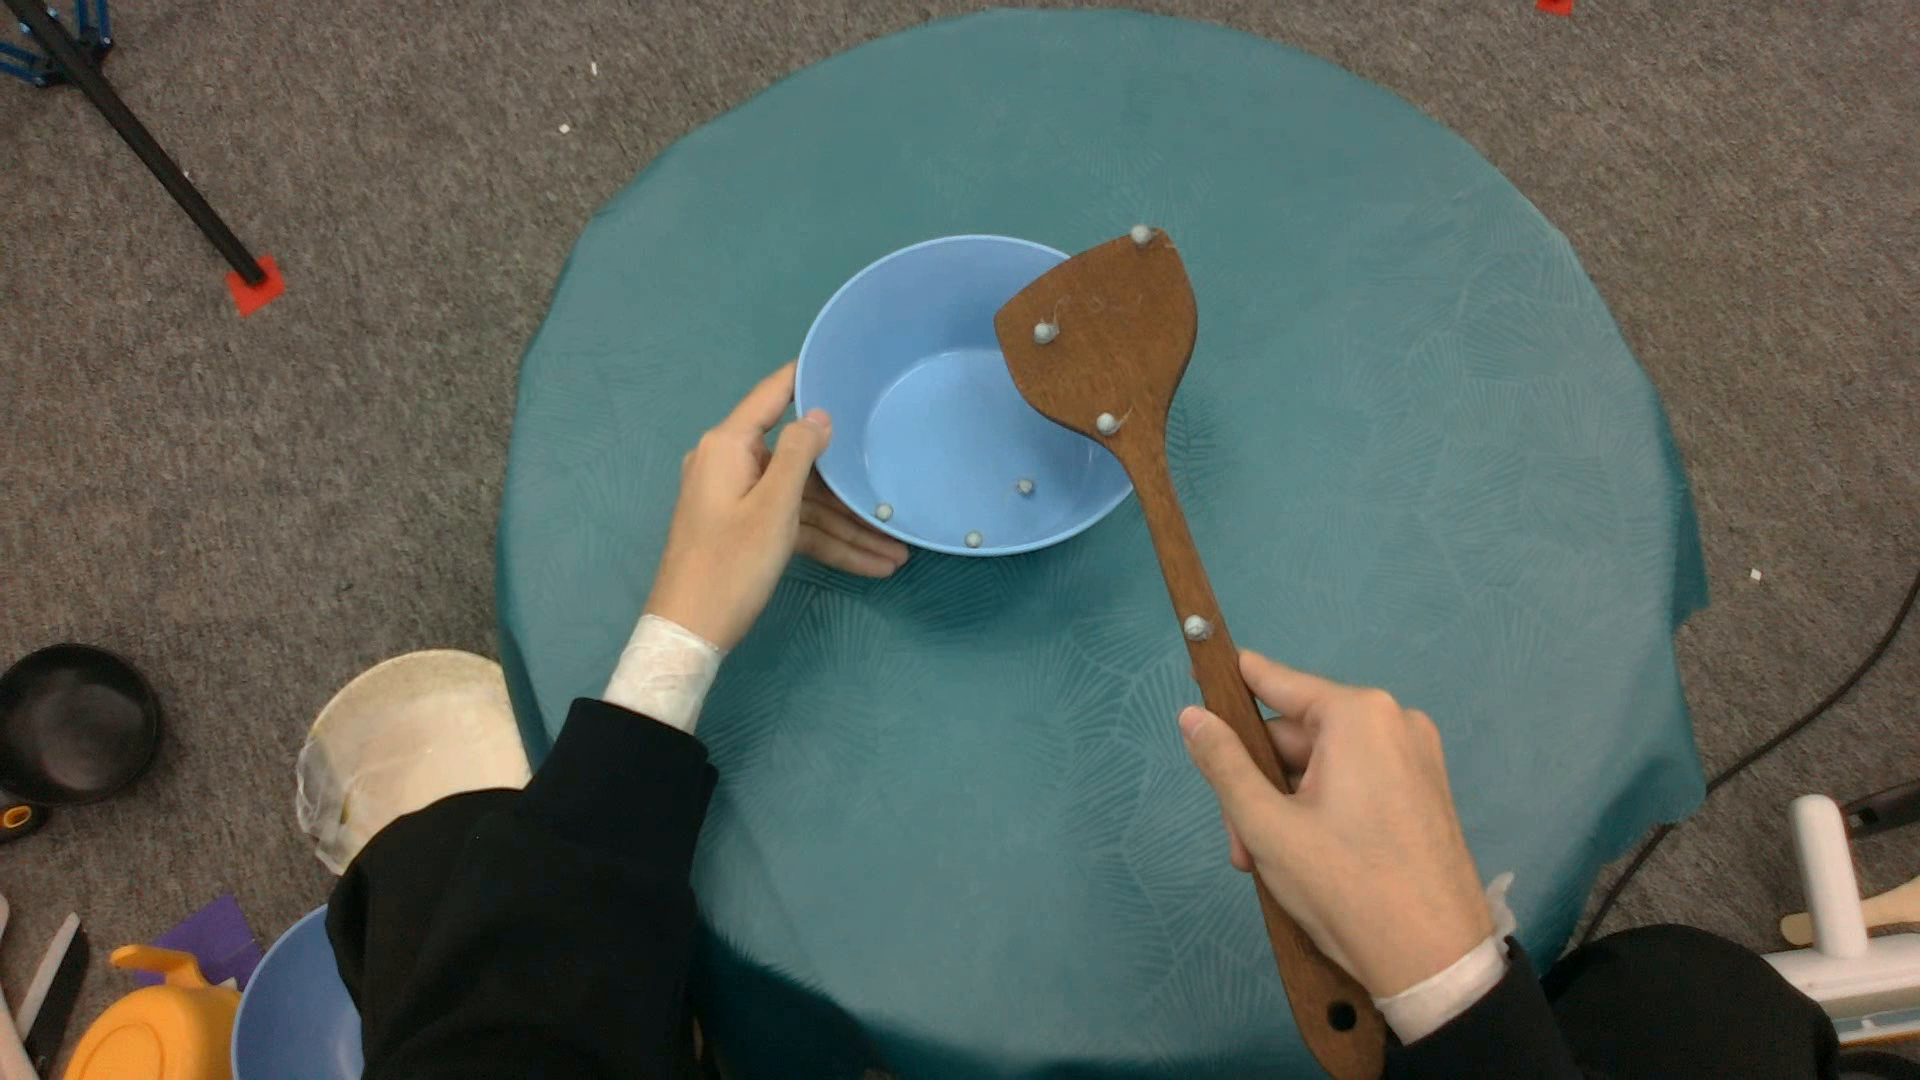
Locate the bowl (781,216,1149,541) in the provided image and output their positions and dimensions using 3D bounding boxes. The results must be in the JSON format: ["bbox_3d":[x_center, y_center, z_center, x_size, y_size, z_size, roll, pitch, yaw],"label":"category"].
[{"bbox_3d":[0.002,-0.069,0.681,0.176,0.070,0.176,0,67,-1],"label":"bowl"}]

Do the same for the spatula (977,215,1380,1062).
[{"bbox_3d":[0.087,0.013,0.555,0.096,0.016,0.387,-25,54,15],"label":"spatula"}]
